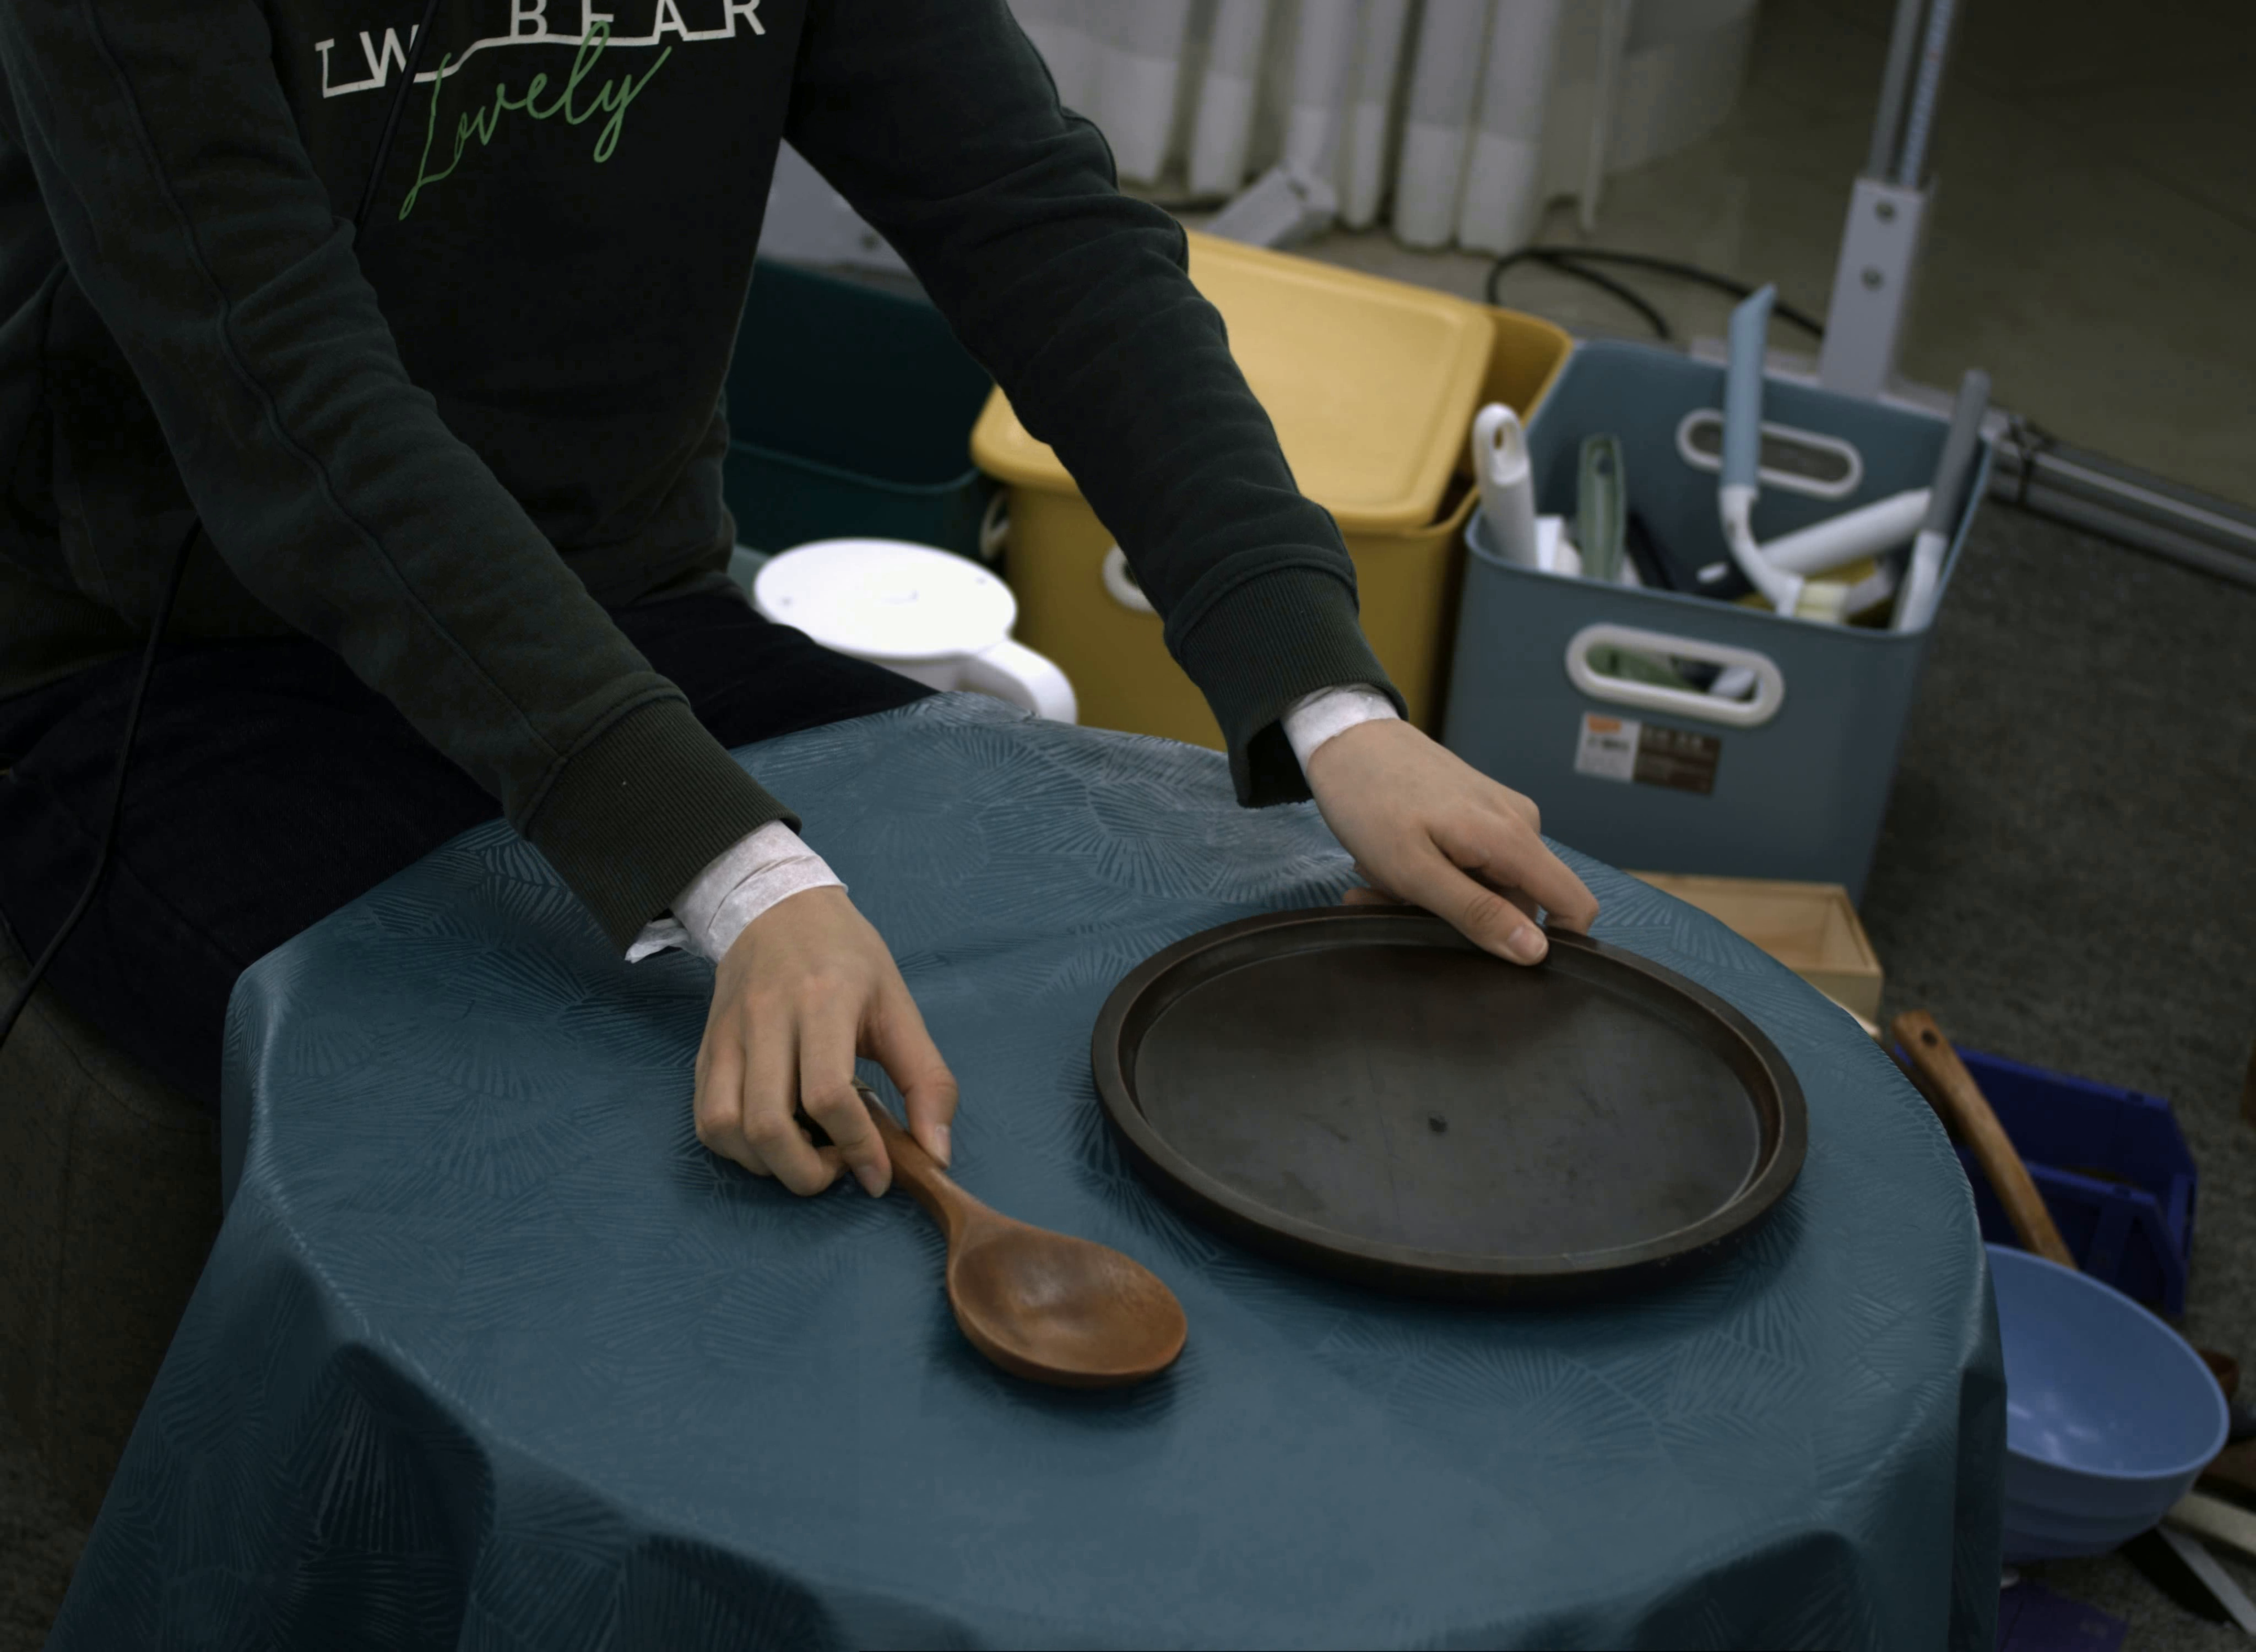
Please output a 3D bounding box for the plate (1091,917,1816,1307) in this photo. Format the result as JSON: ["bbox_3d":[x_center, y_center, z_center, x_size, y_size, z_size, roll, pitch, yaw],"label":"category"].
[{"bbox_3d":[0.112,0.097,1.851,0.254,0.029,0.256,5,27,-3],"label":"plate"}]

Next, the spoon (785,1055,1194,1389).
[{"bbox_3d":[-0.053,0.131,1.755,0.075,0.017,0.218,-11,32,-31],"label":"spoon"}]
